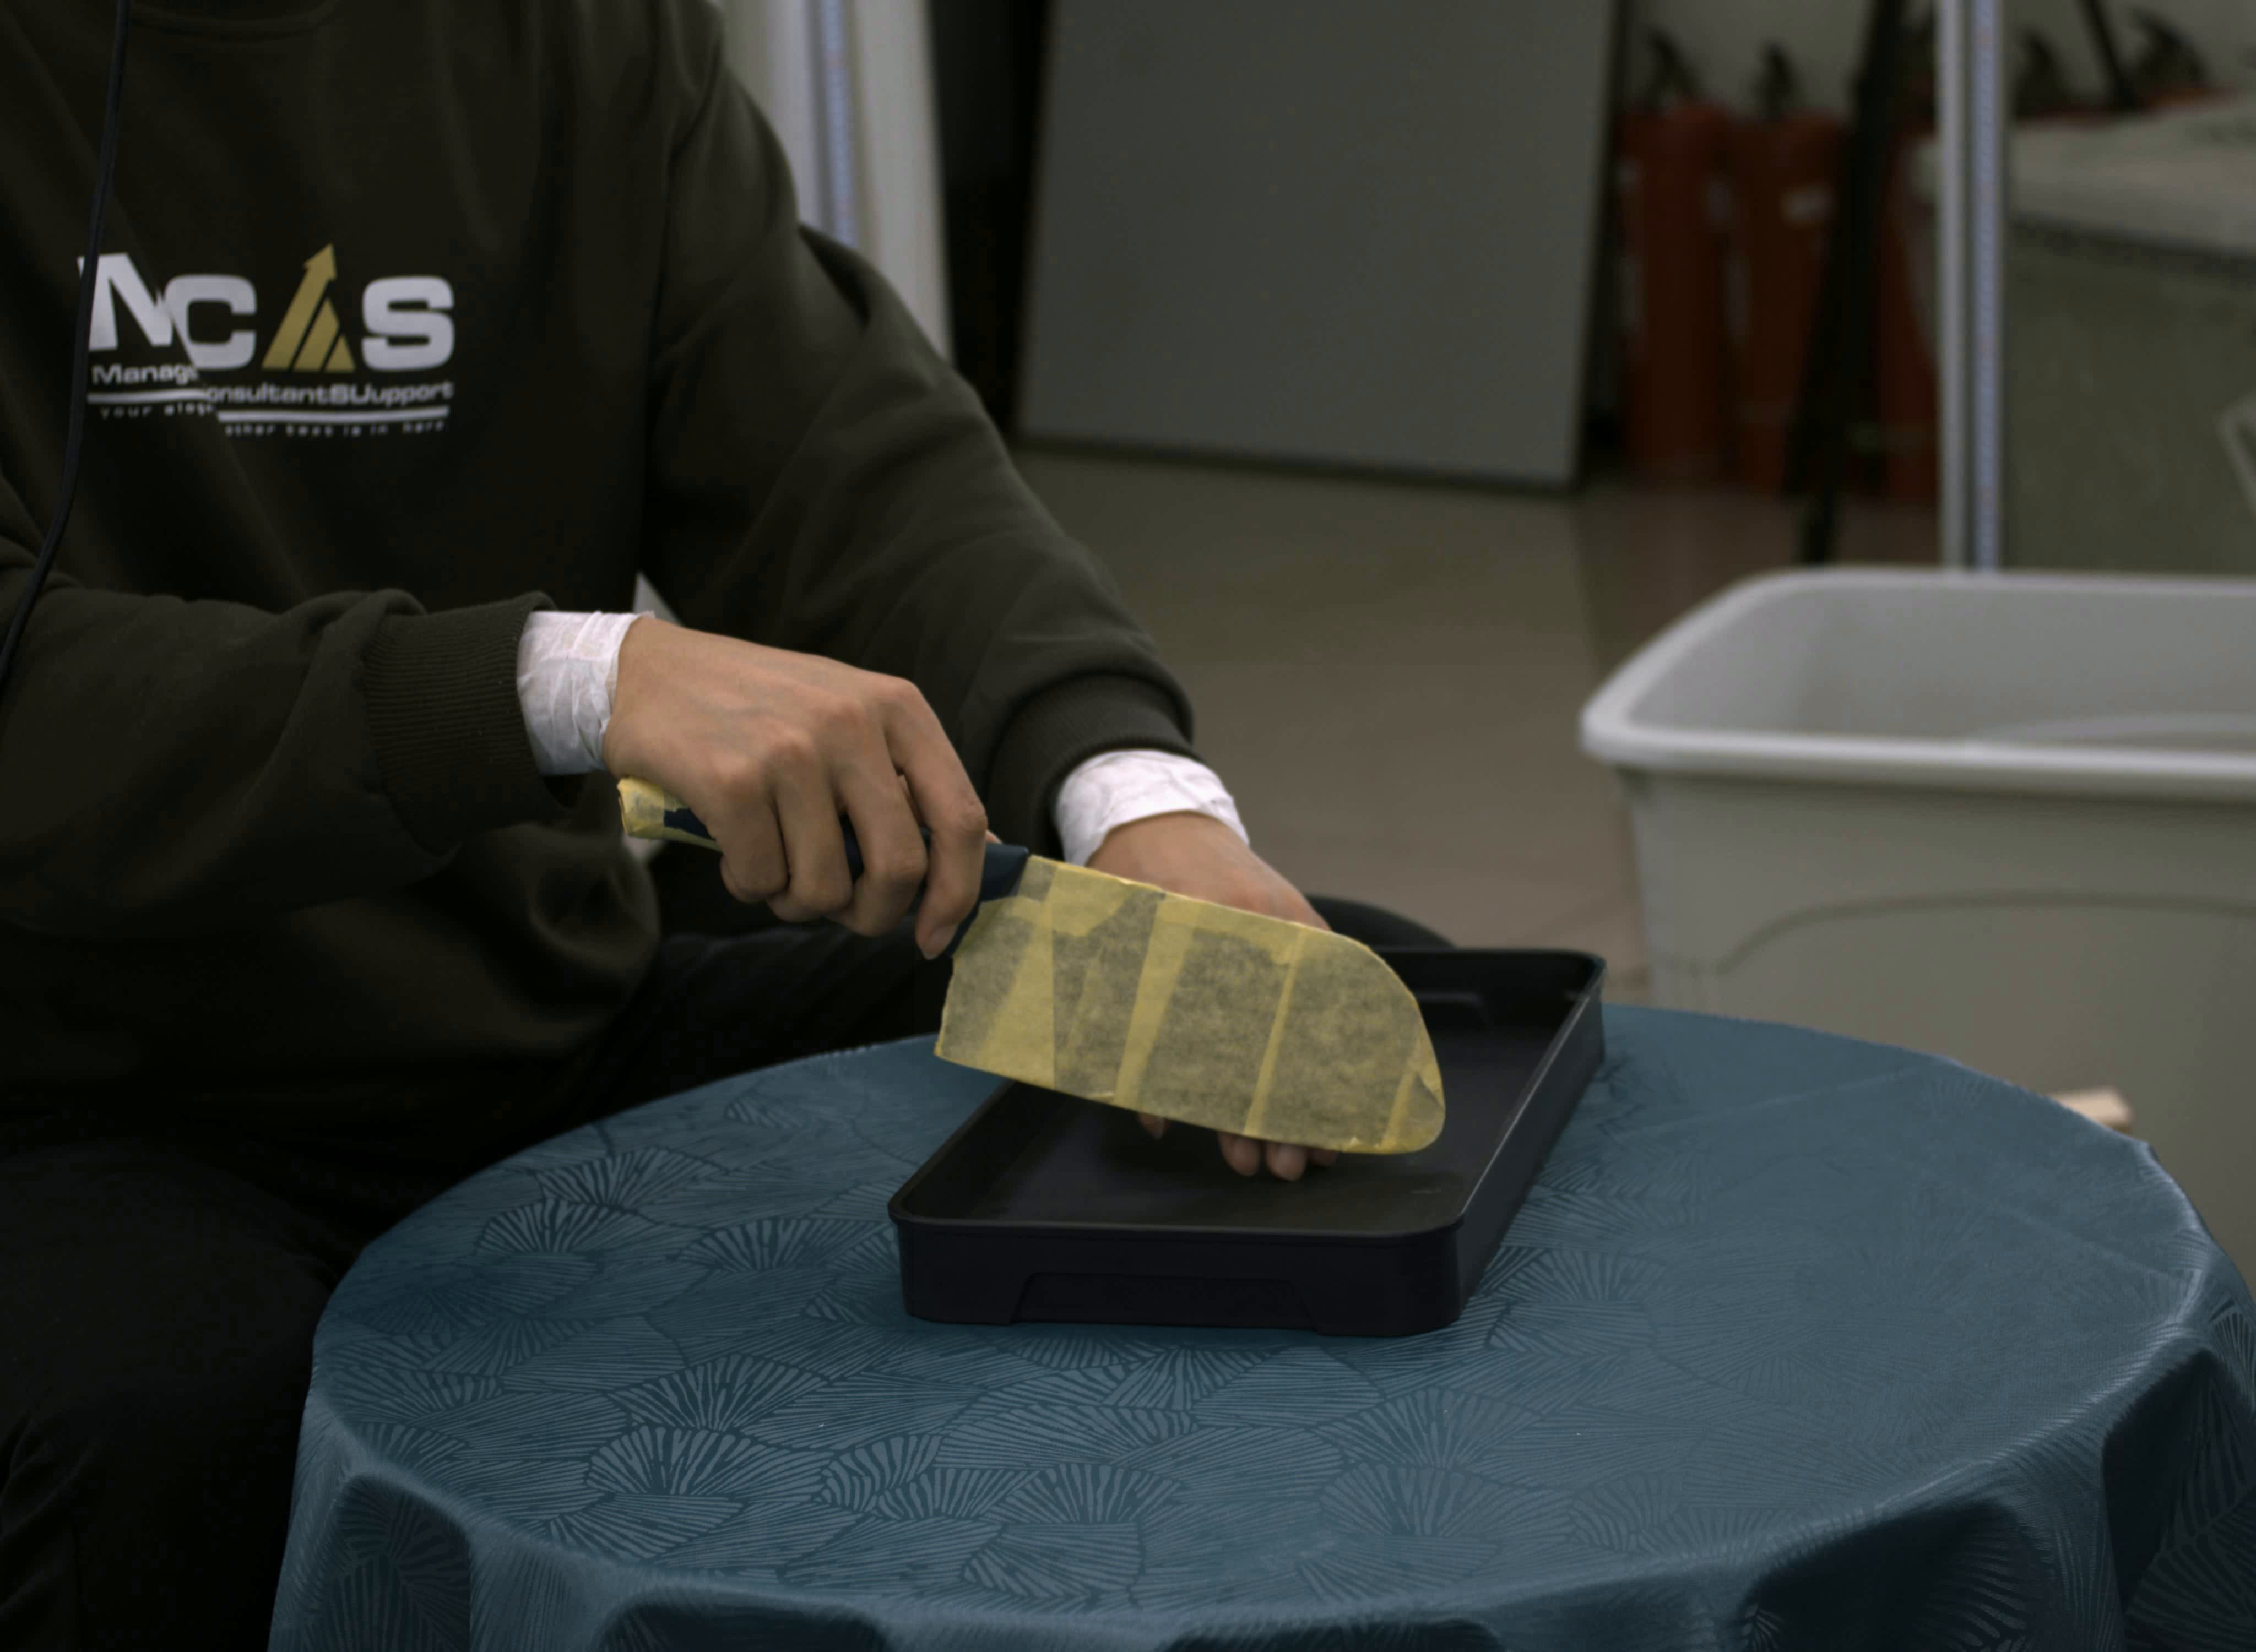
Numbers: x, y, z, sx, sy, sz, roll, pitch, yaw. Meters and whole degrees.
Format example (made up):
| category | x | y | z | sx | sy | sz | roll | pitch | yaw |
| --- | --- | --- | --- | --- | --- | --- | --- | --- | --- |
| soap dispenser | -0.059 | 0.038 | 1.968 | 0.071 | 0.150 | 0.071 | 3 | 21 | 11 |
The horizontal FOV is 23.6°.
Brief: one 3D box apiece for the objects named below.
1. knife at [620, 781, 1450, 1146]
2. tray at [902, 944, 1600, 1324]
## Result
| category | x | y | z | sx | sy | sz | roll | pitch | yaw |
| --- | --- | --- | --- | --- | --- | --- | --- | --- | --- |
| knife | -0.031 | 0.044 | 1.749 | 0.286 | 0.082 | 0.027 | 17 | -1 | -2 |
| tray | 0.049 | 0.097 | 1.781 | 0.183 | 0.037 | 0.316 | -1 | 14 | 14 |
